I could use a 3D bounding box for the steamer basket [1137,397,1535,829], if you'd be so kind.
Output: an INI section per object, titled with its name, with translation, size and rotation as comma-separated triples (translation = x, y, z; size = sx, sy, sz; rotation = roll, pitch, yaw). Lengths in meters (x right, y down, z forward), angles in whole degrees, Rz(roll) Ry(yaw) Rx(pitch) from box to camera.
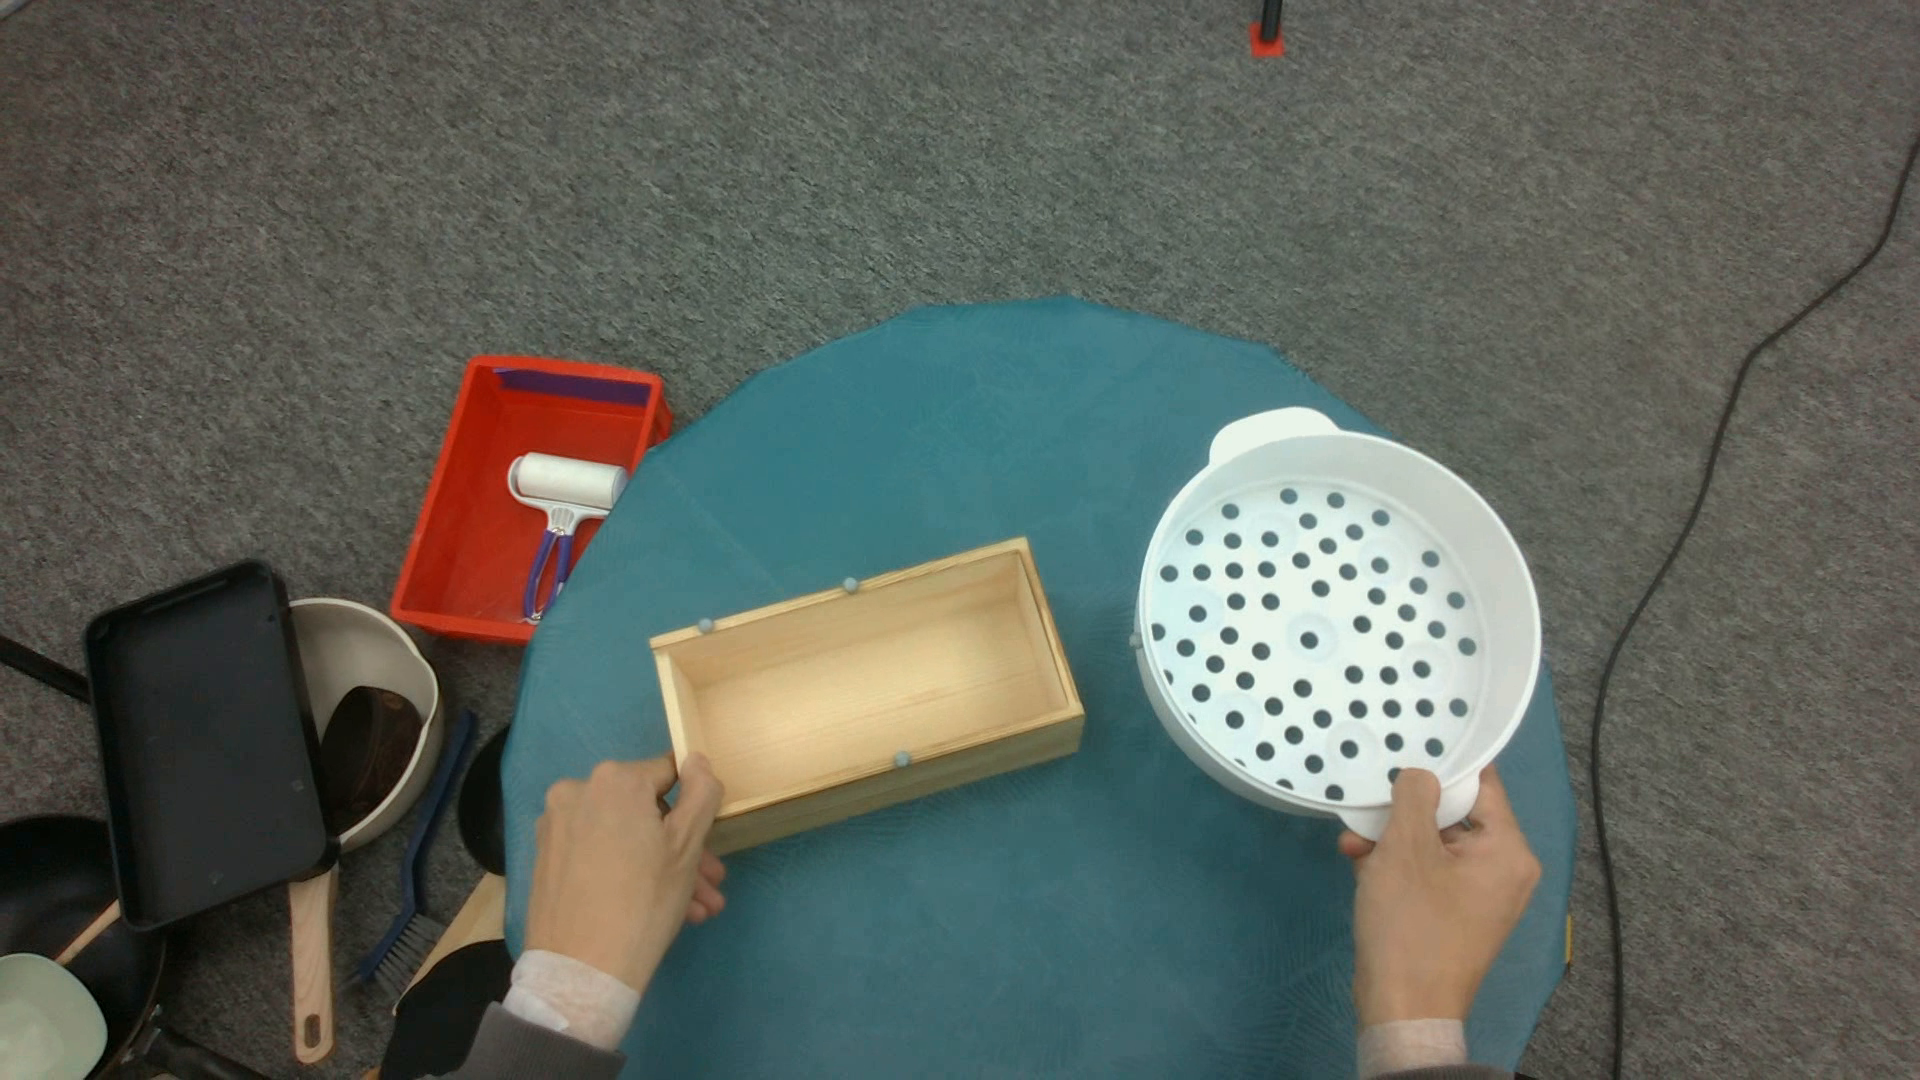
[steamer basket]
translation = 0.193, 0.040, 0.733
size = 0.202, 0.069, 0.231
rotation = -15, 73, -4

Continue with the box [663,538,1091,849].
[box]
translation = -0.045, 0.087, 0.768
size = 0.211, 0.080, 0.108
rotation = -16, 68, -4
